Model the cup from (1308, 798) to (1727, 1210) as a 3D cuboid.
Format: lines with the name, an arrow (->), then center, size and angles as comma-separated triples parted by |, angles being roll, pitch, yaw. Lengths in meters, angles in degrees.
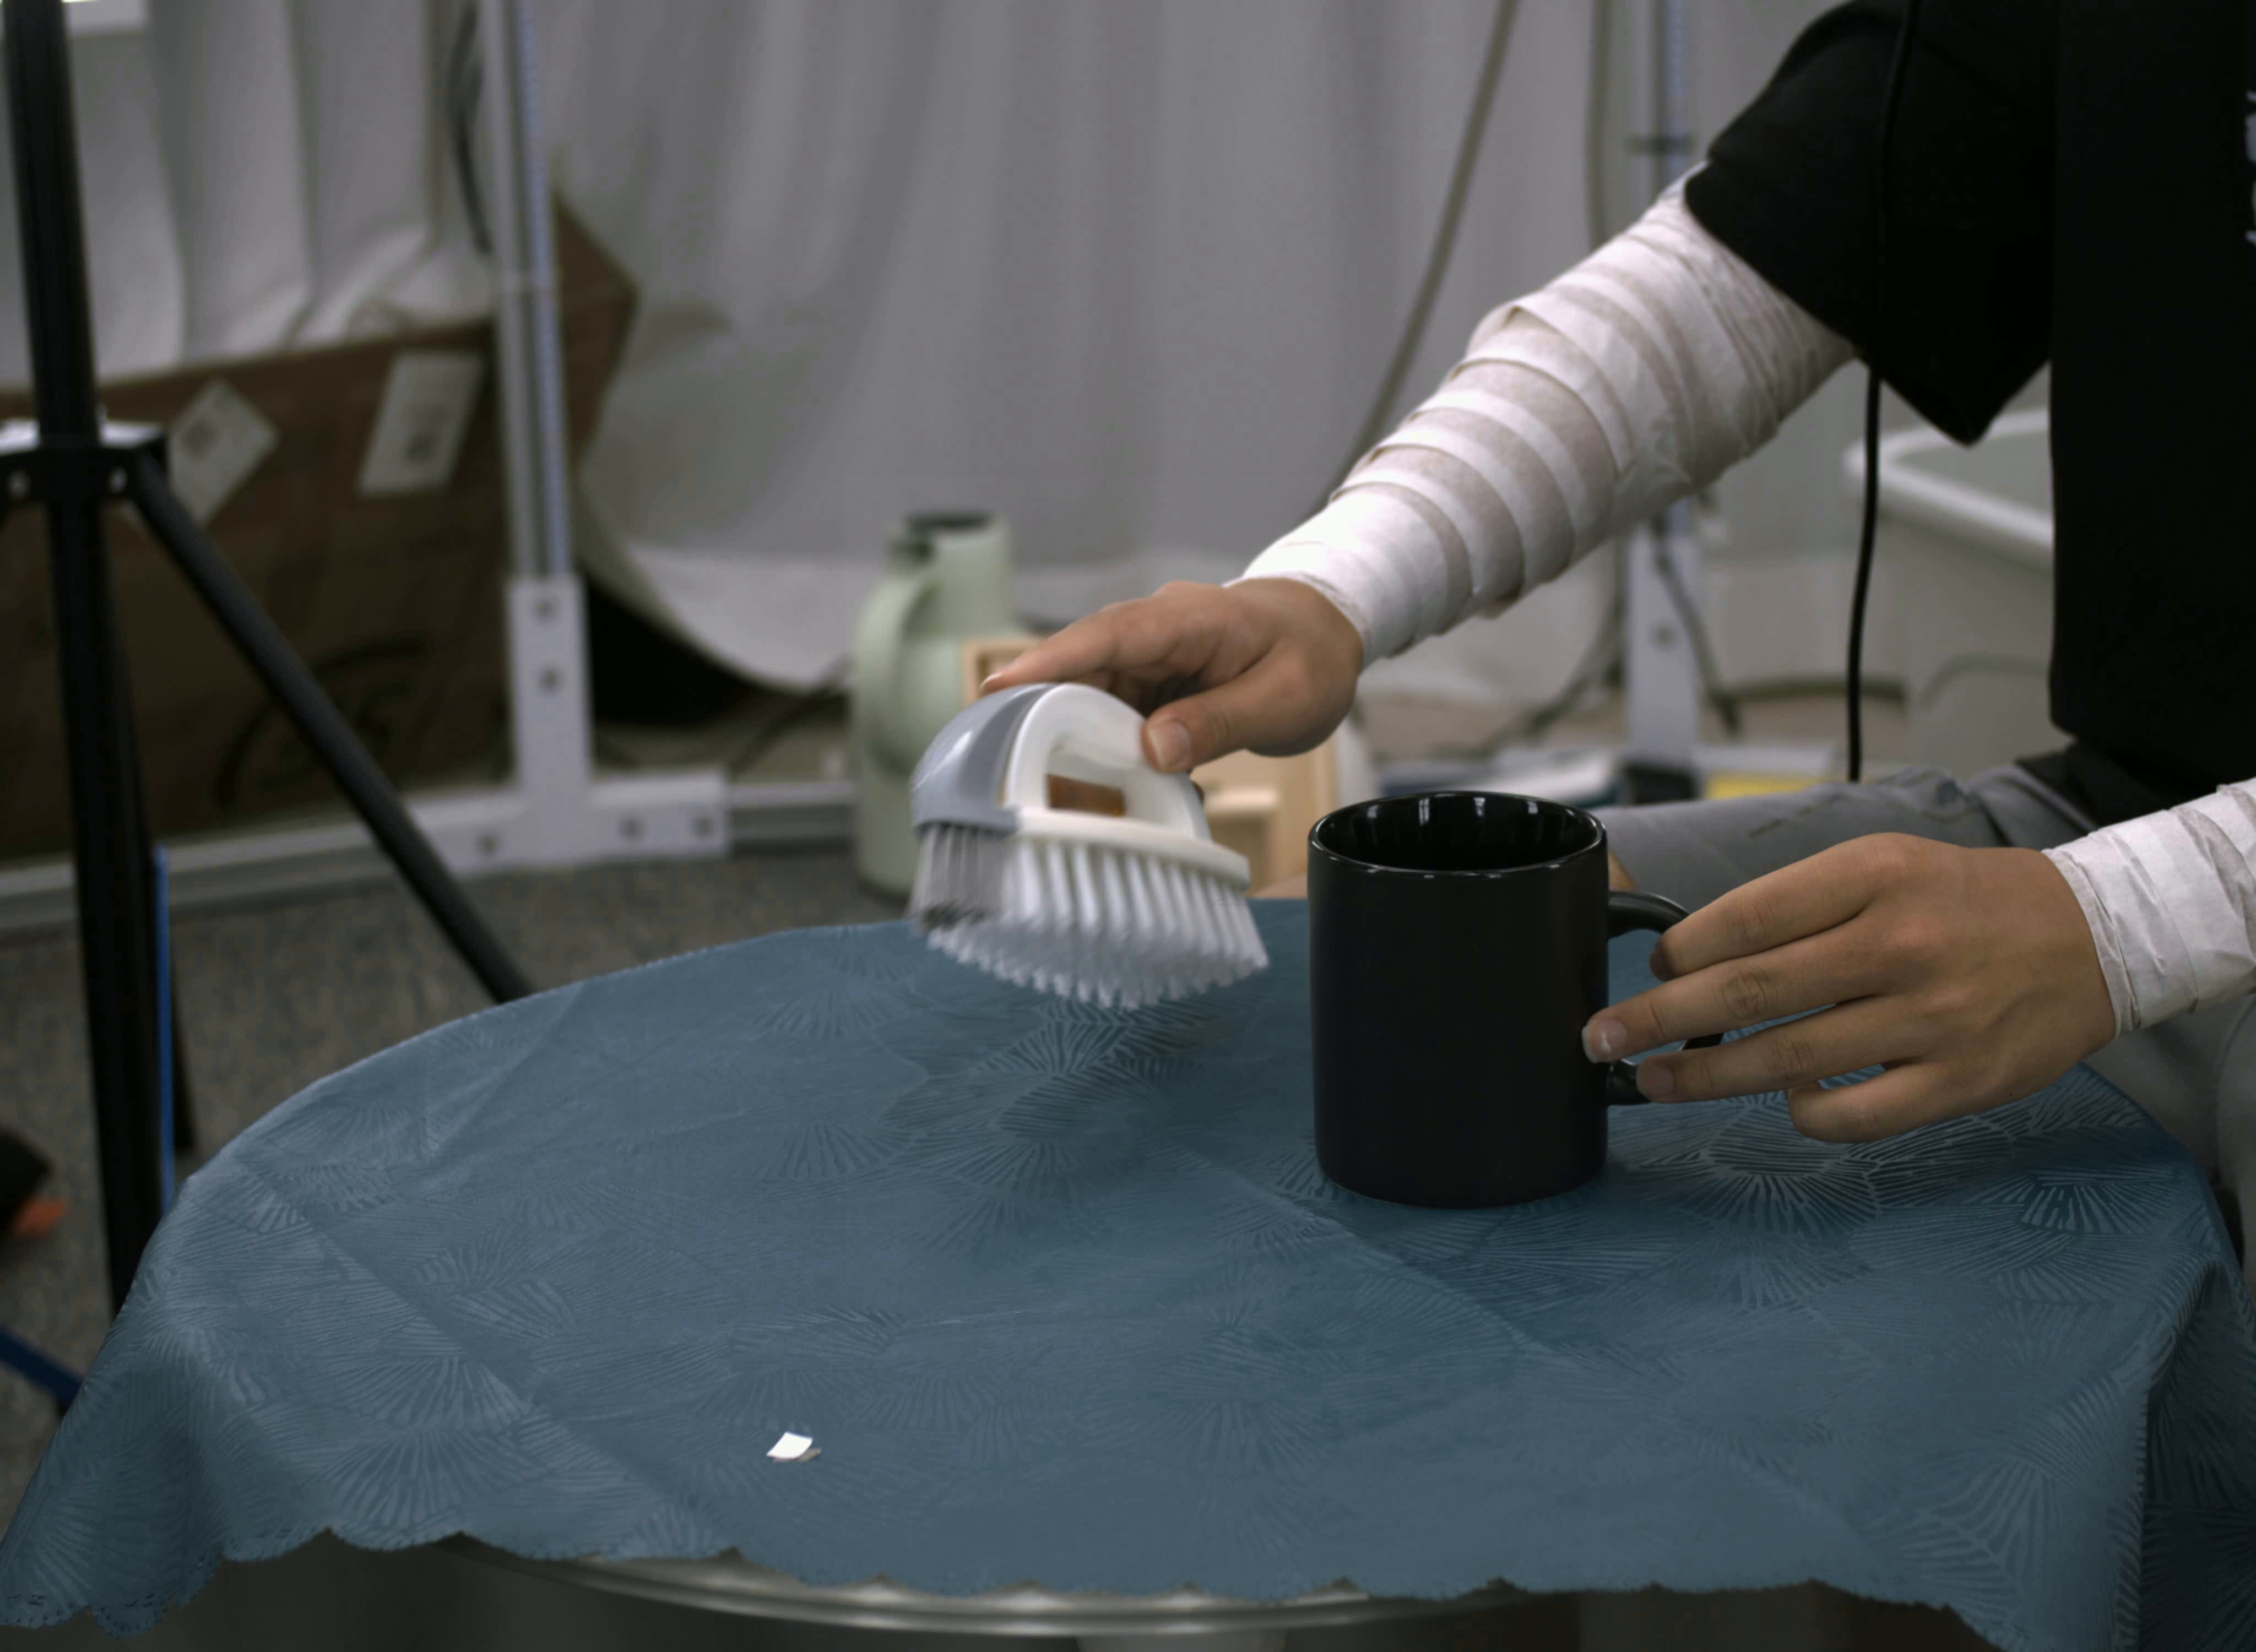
cup -> 0.114, 0.052, 1.554 | 0.124, 0.105, 0.088 | 2, 11, 12

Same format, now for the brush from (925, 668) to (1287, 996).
brush -> -0.017, -0.005, 1.628 | 0.062, 0.095, 0.171 | -21, -17, 25
